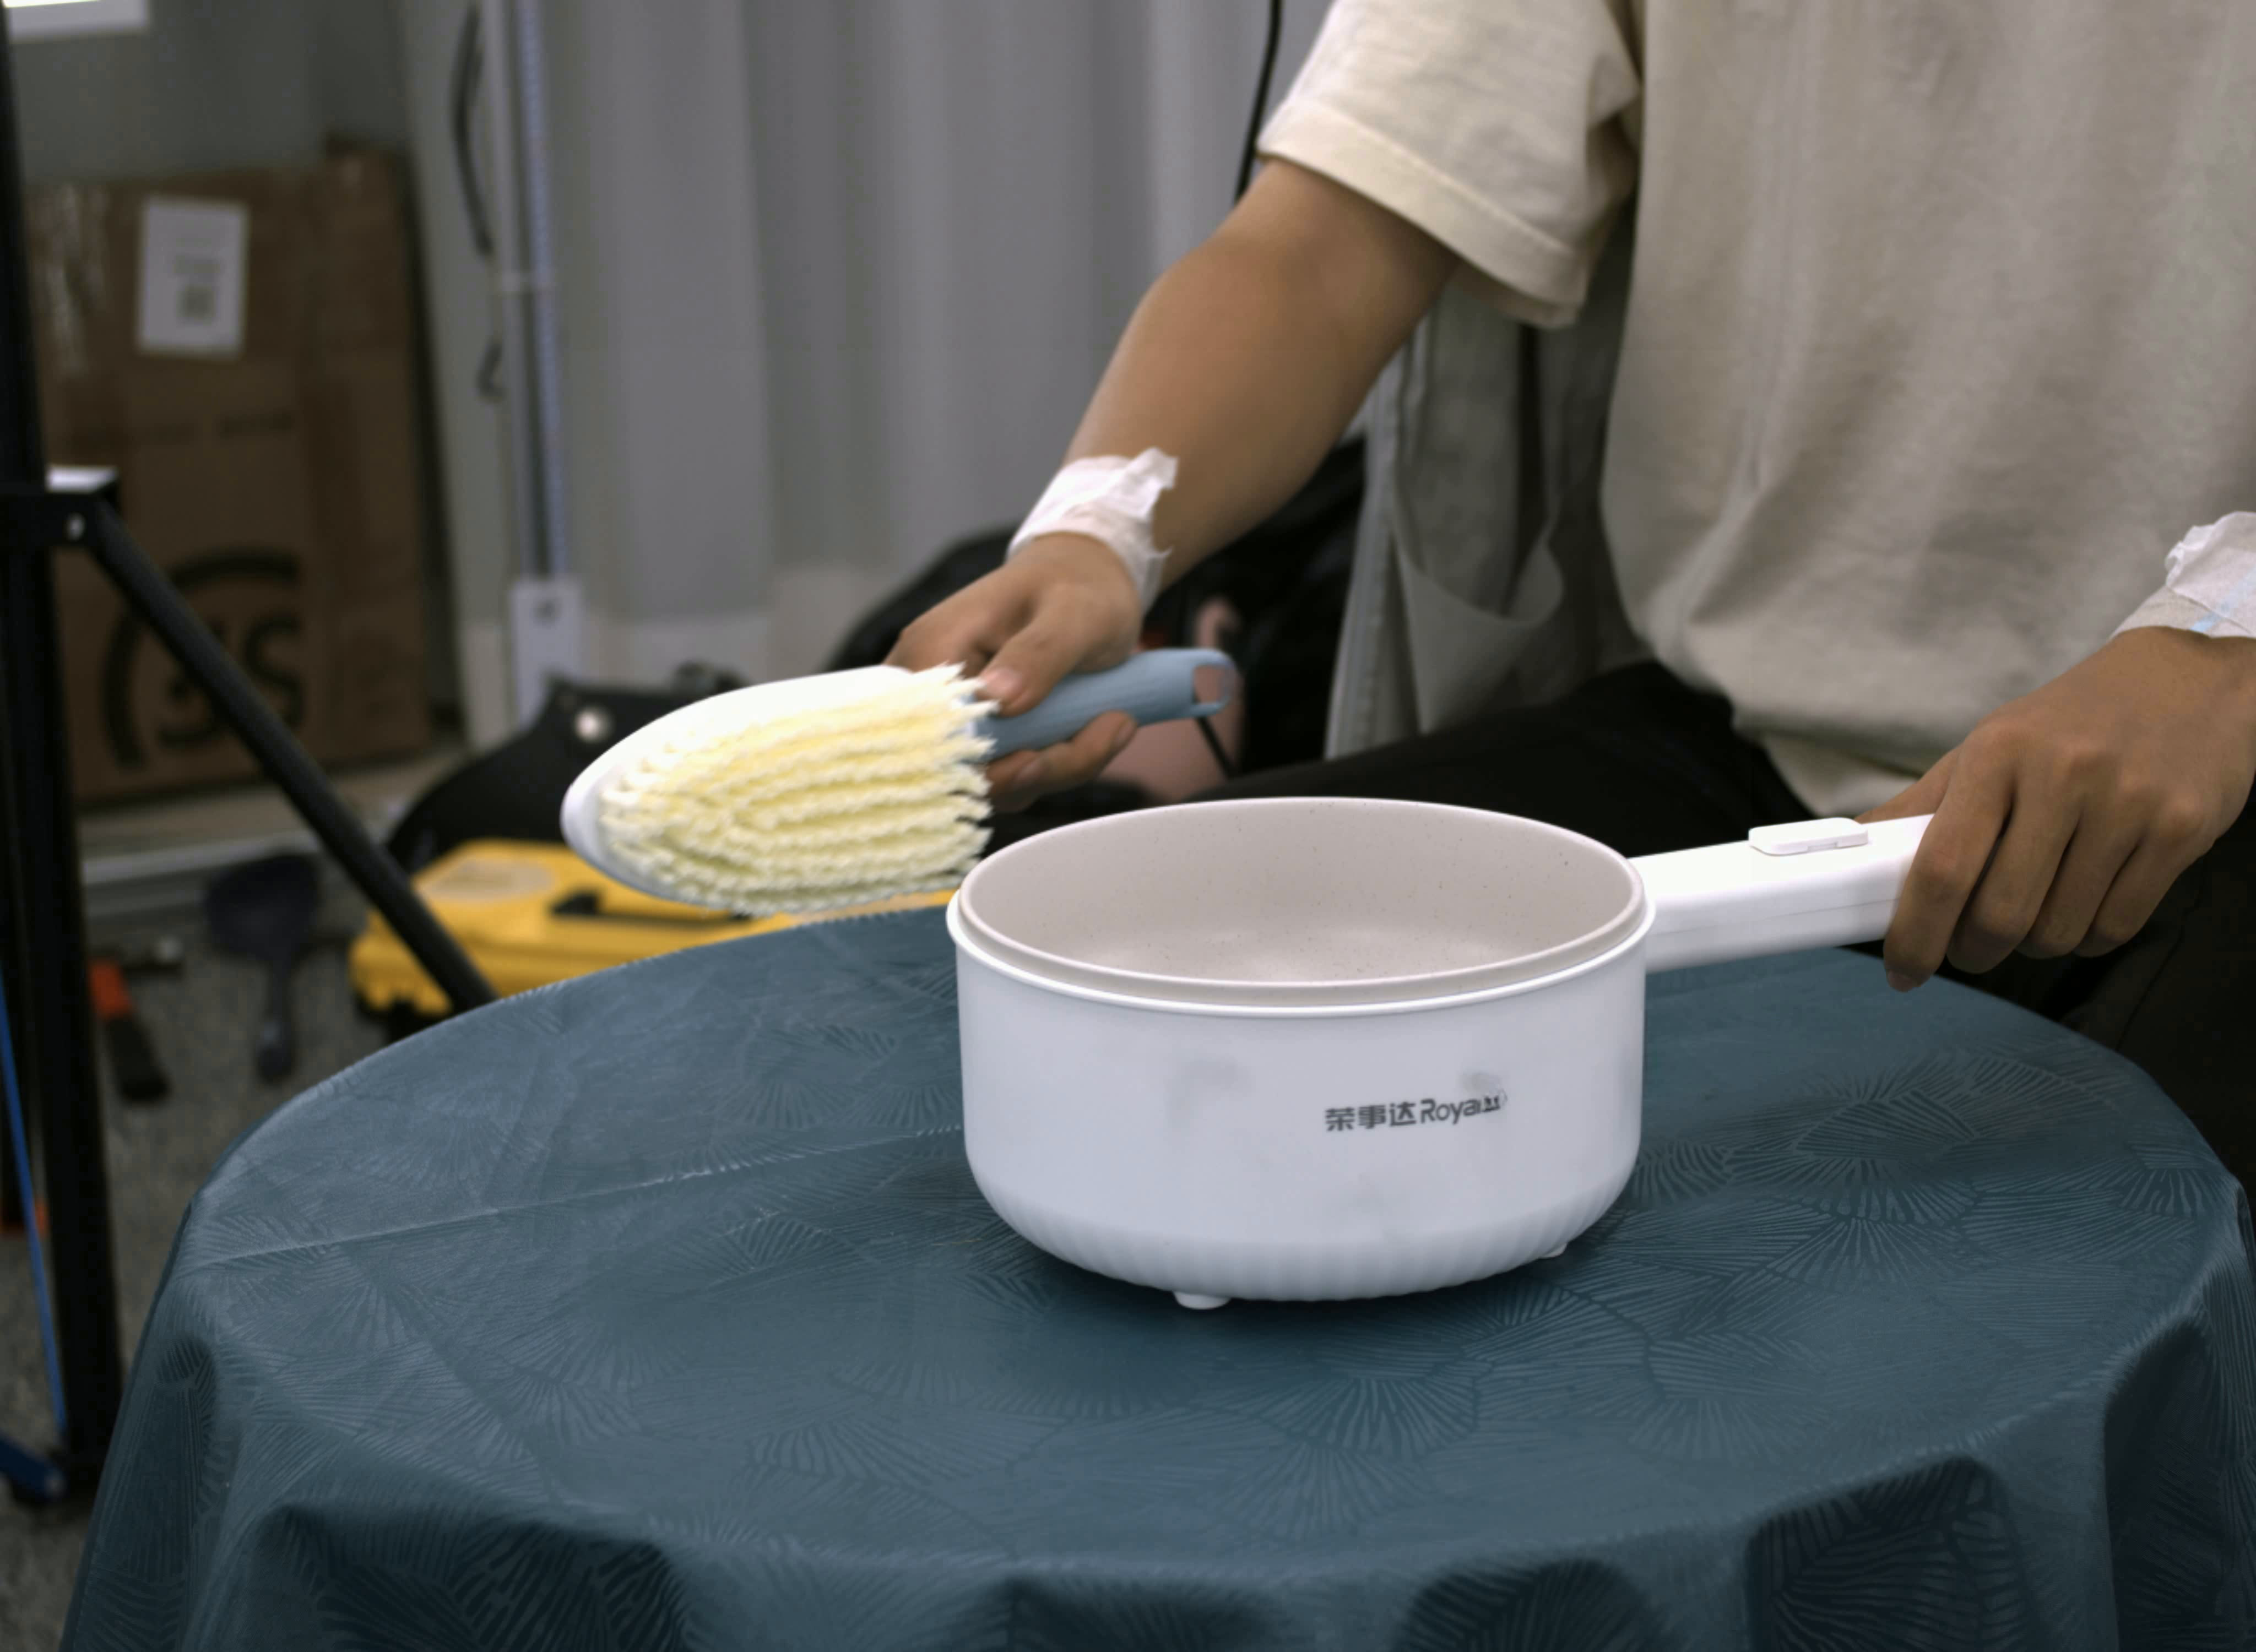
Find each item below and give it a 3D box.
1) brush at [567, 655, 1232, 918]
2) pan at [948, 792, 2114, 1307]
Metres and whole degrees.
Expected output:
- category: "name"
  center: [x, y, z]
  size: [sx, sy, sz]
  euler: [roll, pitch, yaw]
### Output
- category: "brush"
  center: [-0.041, -0.026, 1.649]
  size: [0.086, 0.083, 0.318]
  euler: [47, 32, 22]
- category: "pan"
  center: [0.121, 0.057, 1.534]
  size: [0.348, 0.102, 0.205]
  euler: [-6, 16, -18]
